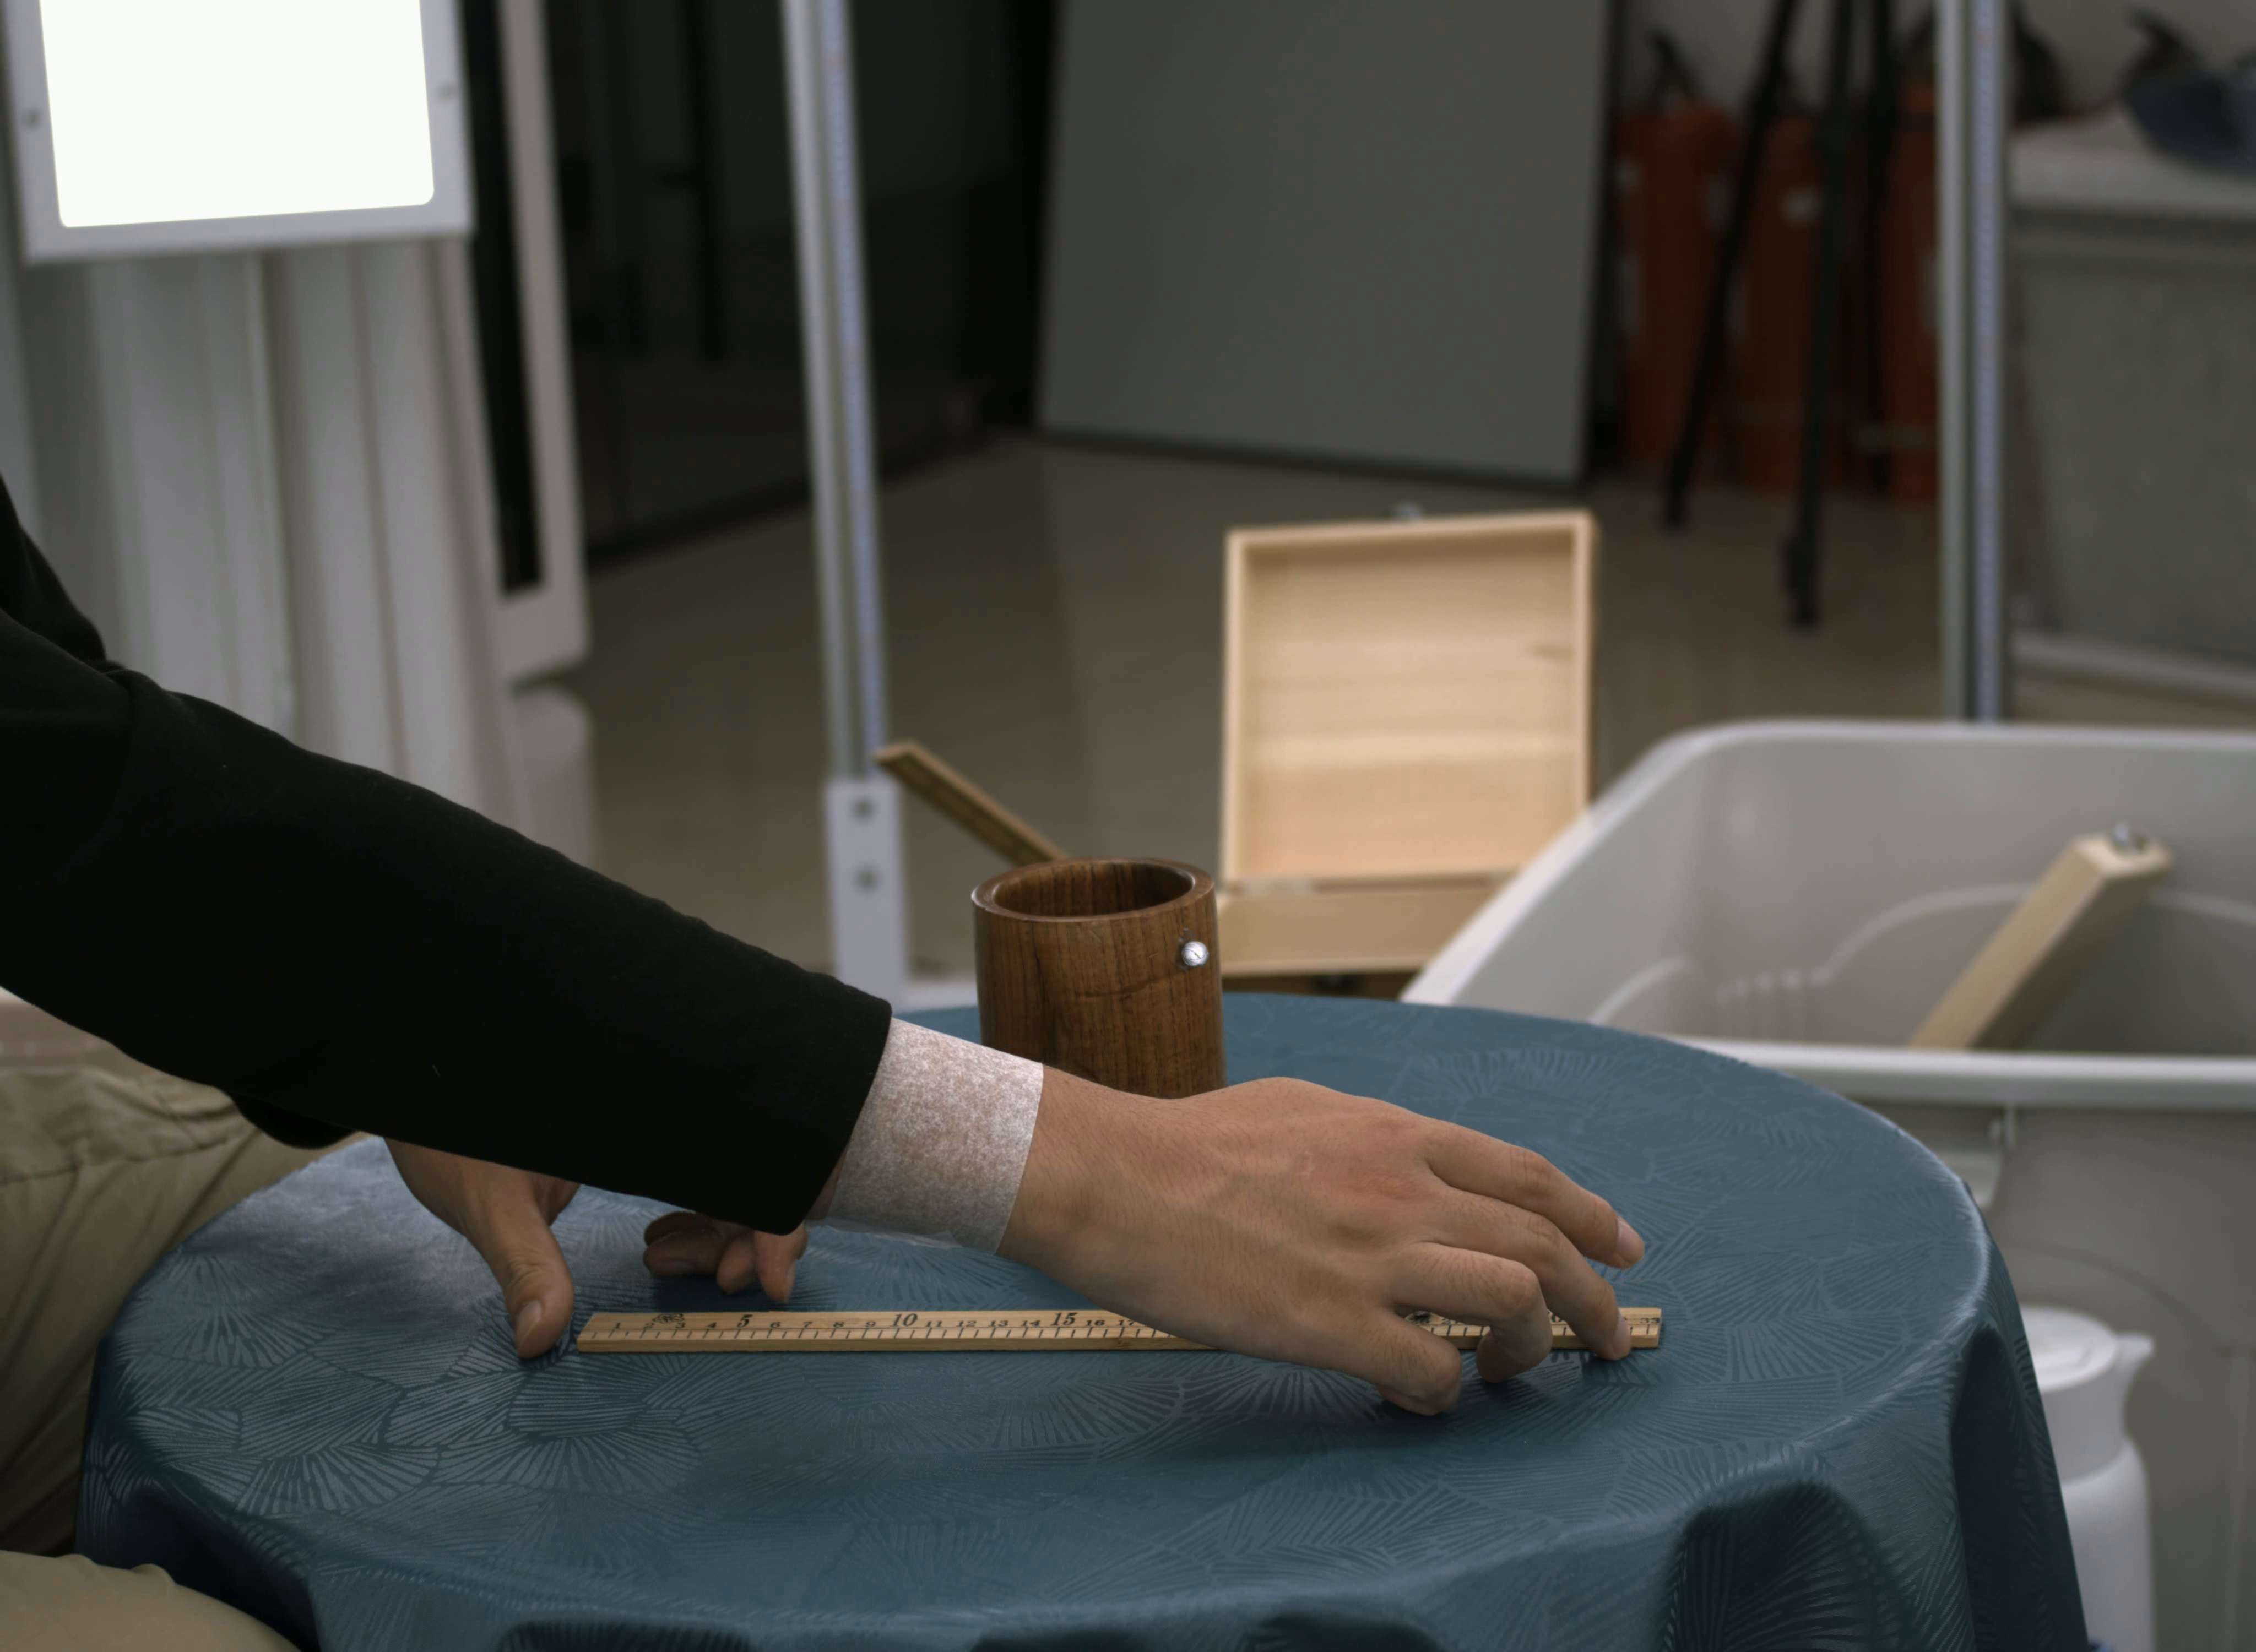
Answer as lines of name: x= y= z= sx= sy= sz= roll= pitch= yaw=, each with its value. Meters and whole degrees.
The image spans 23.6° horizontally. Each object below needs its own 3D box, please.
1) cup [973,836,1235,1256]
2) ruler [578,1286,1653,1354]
cup: x=-0.007 y=0.070 z=1.734 sx=0.086 sy=0.120 sz=0.088 roll=-4 pitch=12 yaw=0
ruler: x=-0.006 y=0.150 z=1.631 sx=0.330 sy=0.022 sz=0.027 roll=-1 pitch=6 yaw=12
